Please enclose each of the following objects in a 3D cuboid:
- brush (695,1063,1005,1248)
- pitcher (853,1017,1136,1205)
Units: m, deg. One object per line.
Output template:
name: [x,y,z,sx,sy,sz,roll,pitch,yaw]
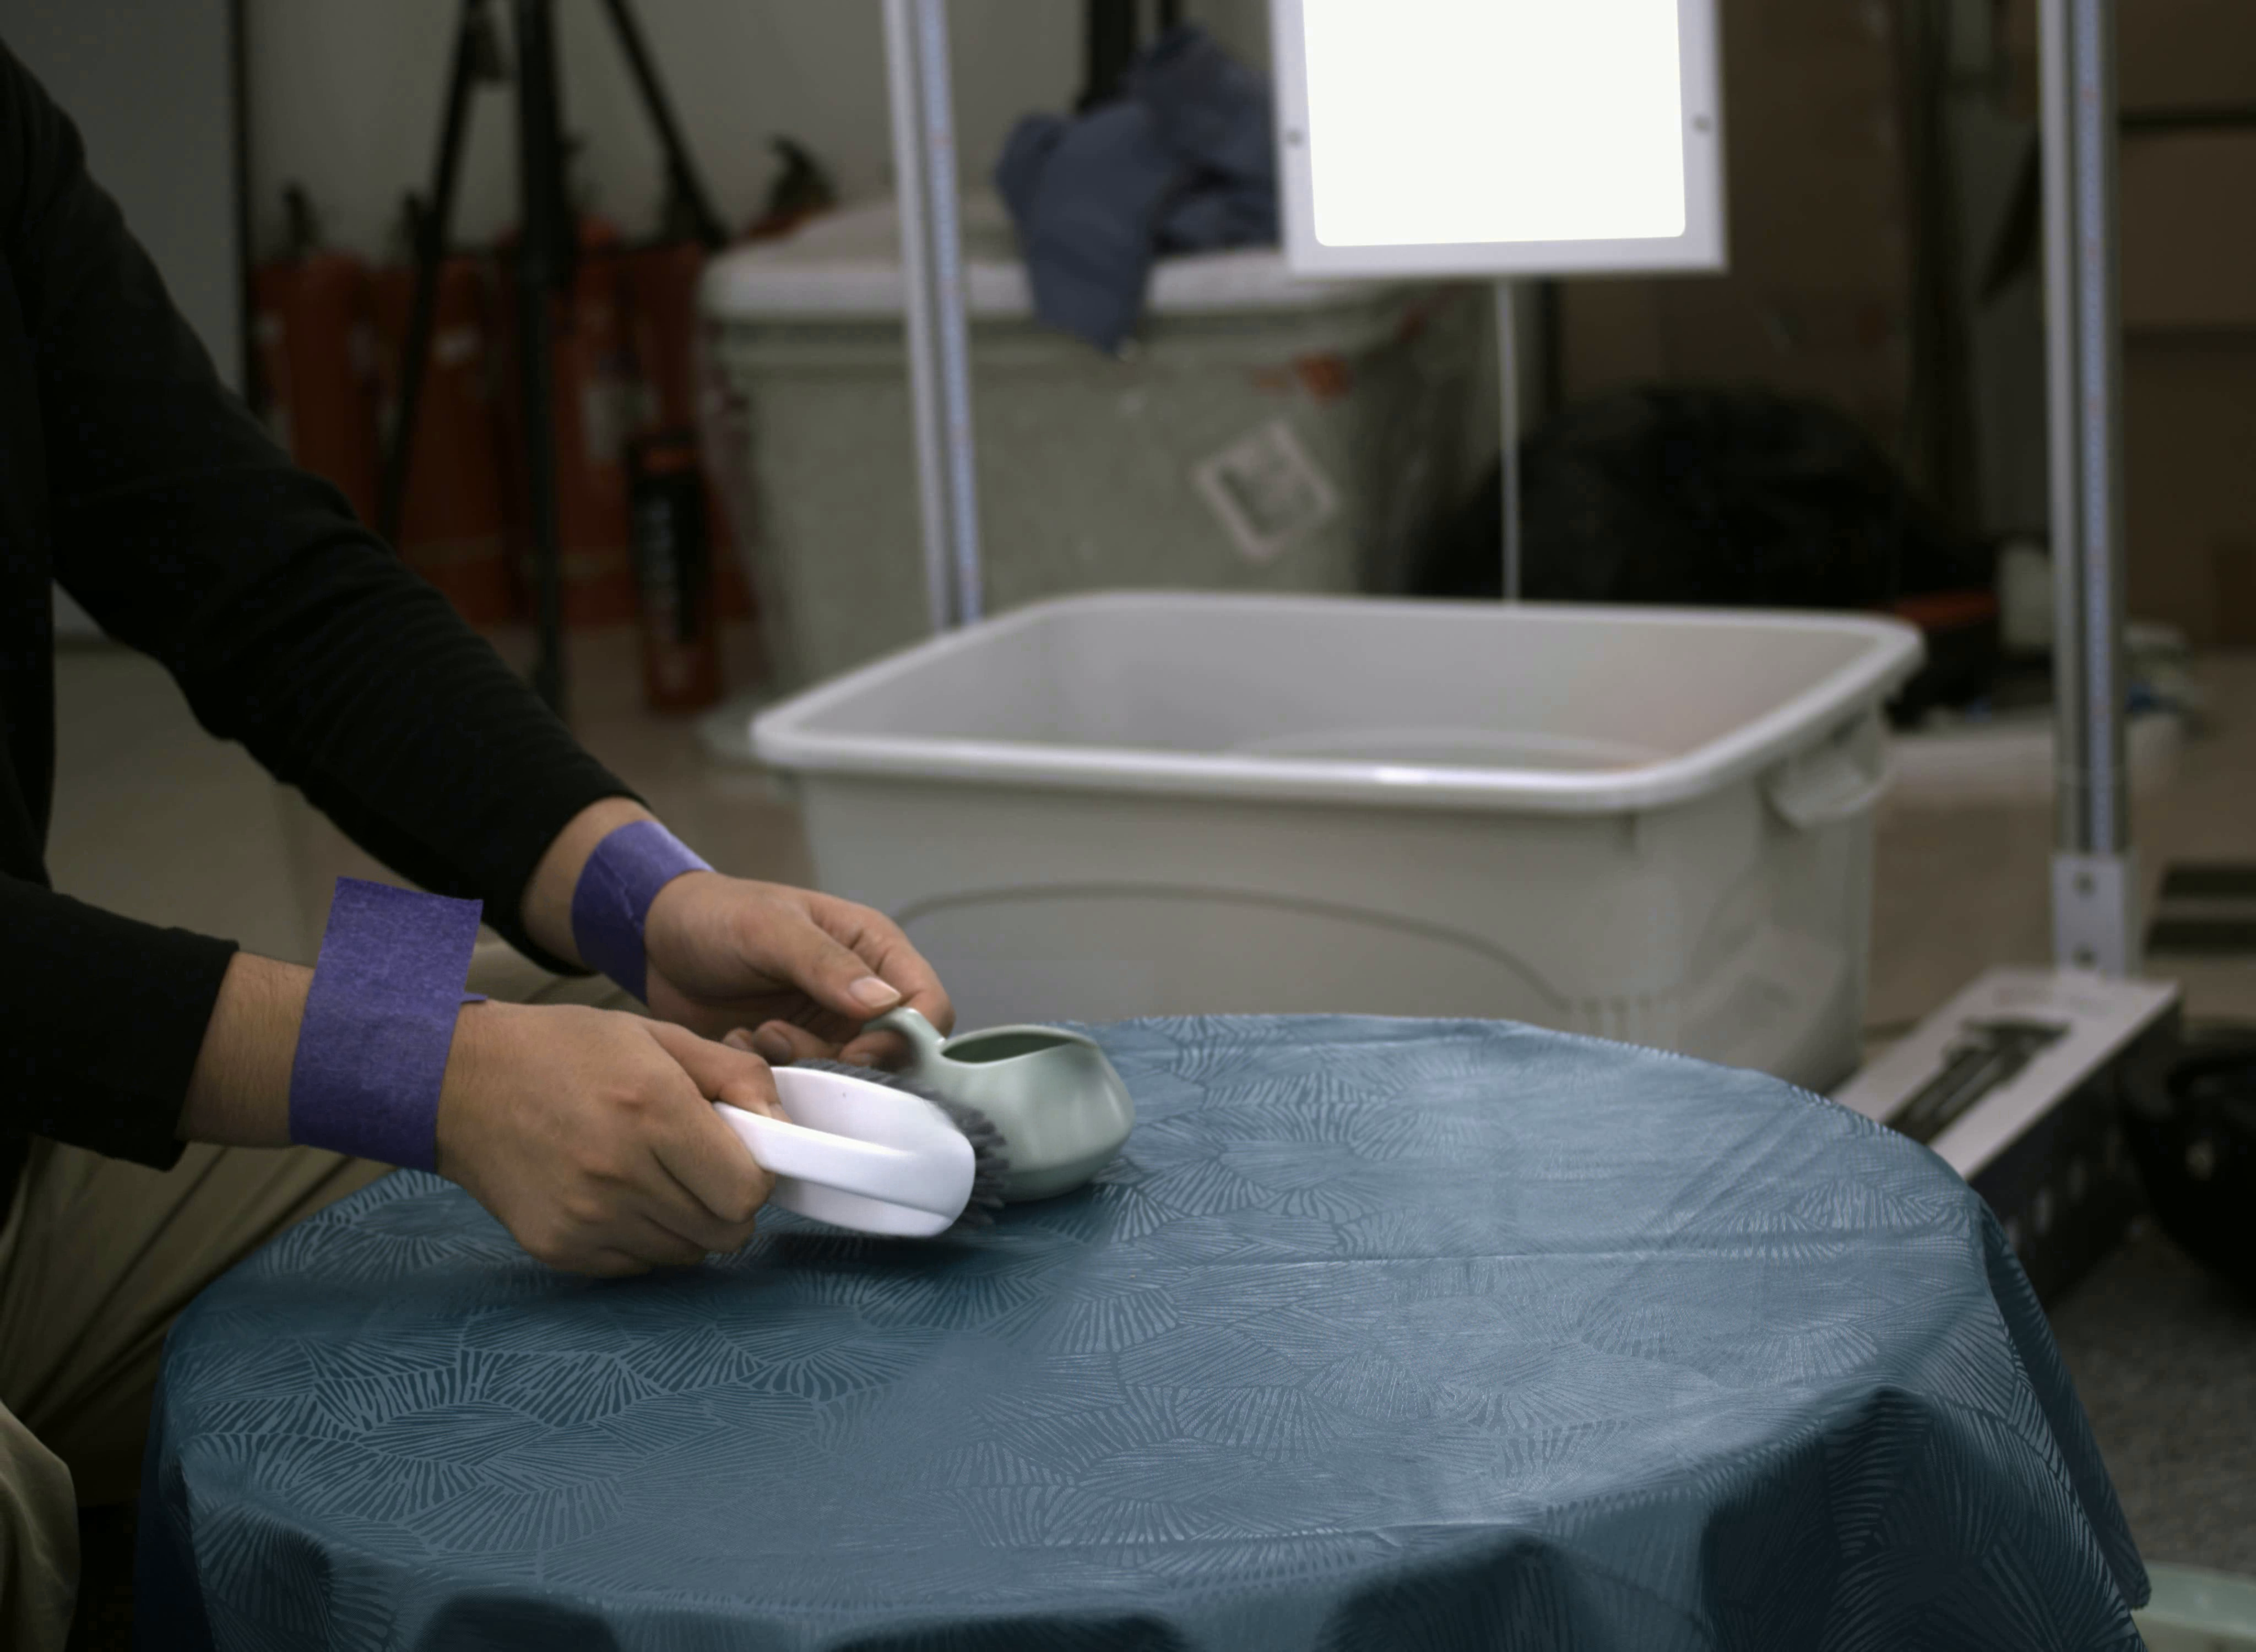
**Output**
brush: [-0.099,0.109,1.840,0.101,0.050,0.071,17,4,25]
pitcher: [-0.050,0.097,1.918,0.110,0.060,0.084,1,14,34]
